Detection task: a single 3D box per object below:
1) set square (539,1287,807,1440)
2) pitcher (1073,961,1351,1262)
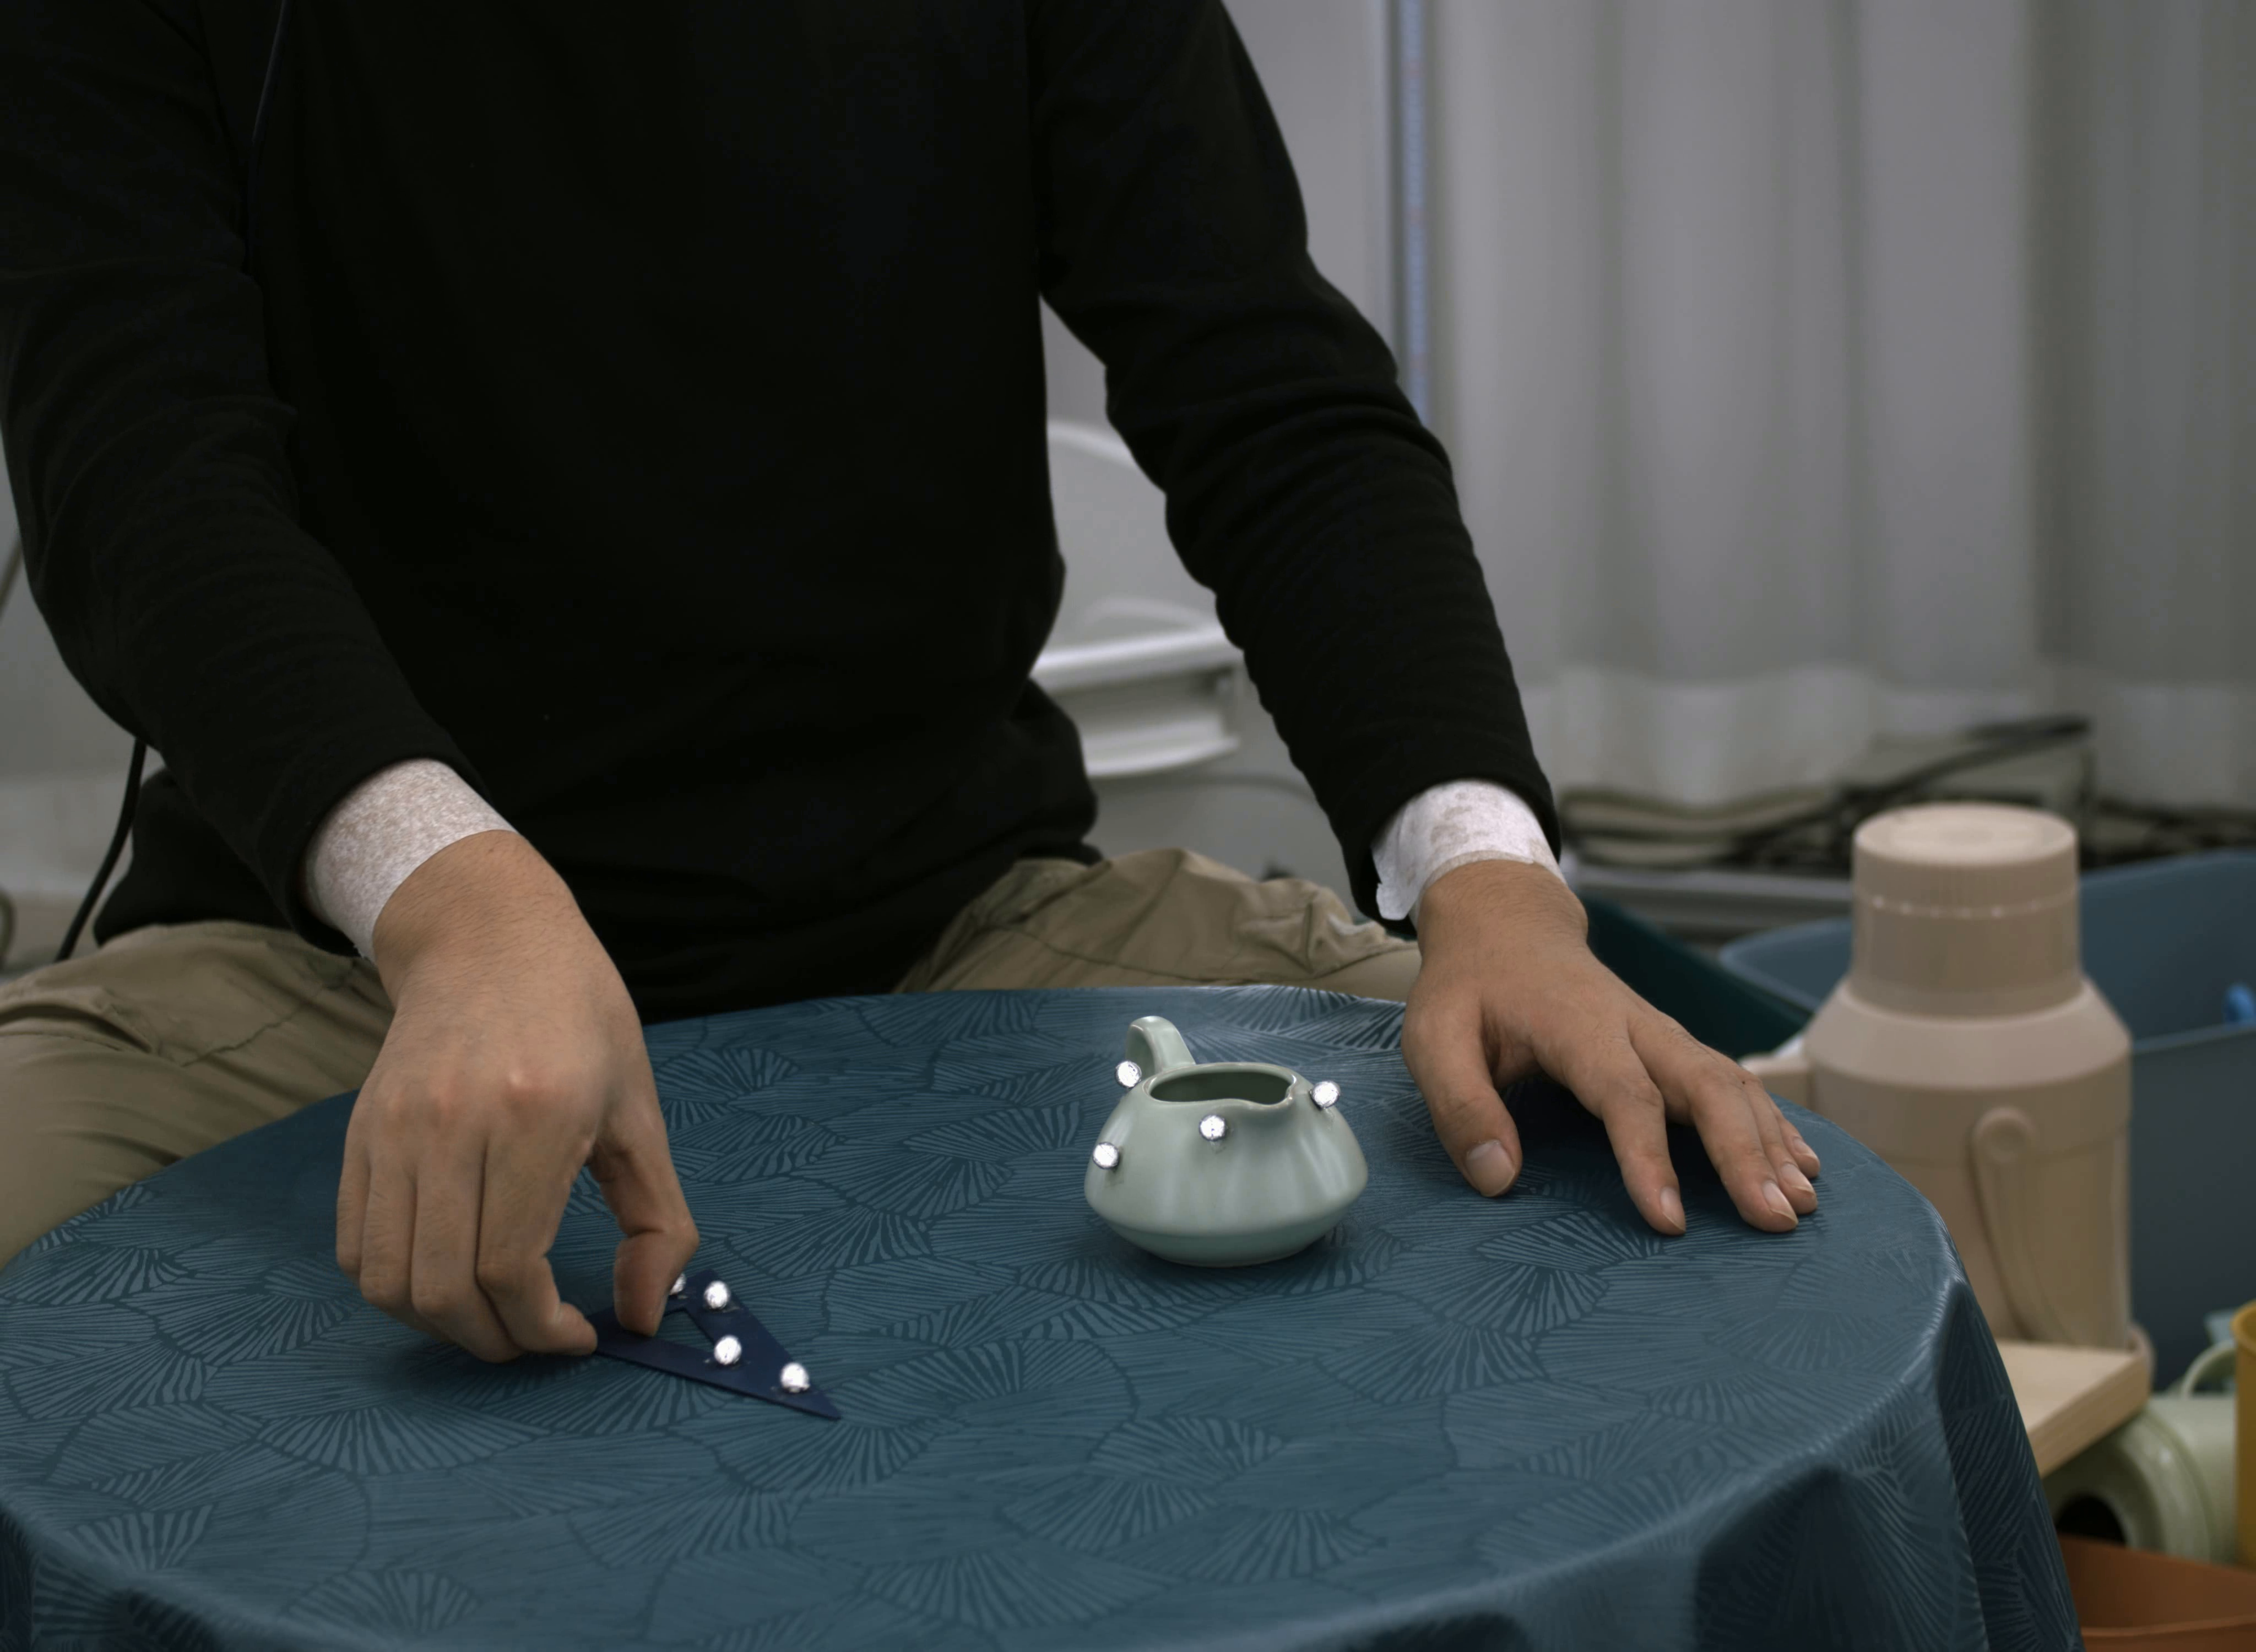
[{"bbox_3d":[-0.133,0.156,1.575,0.061,0.006,0.133,-4,15,-16],"label":"set square"},{"bbox_3d":[0.022,0.089,1.675,0.086,0.060,0.109,-13,33,-3],"label":"pitcher"}]
